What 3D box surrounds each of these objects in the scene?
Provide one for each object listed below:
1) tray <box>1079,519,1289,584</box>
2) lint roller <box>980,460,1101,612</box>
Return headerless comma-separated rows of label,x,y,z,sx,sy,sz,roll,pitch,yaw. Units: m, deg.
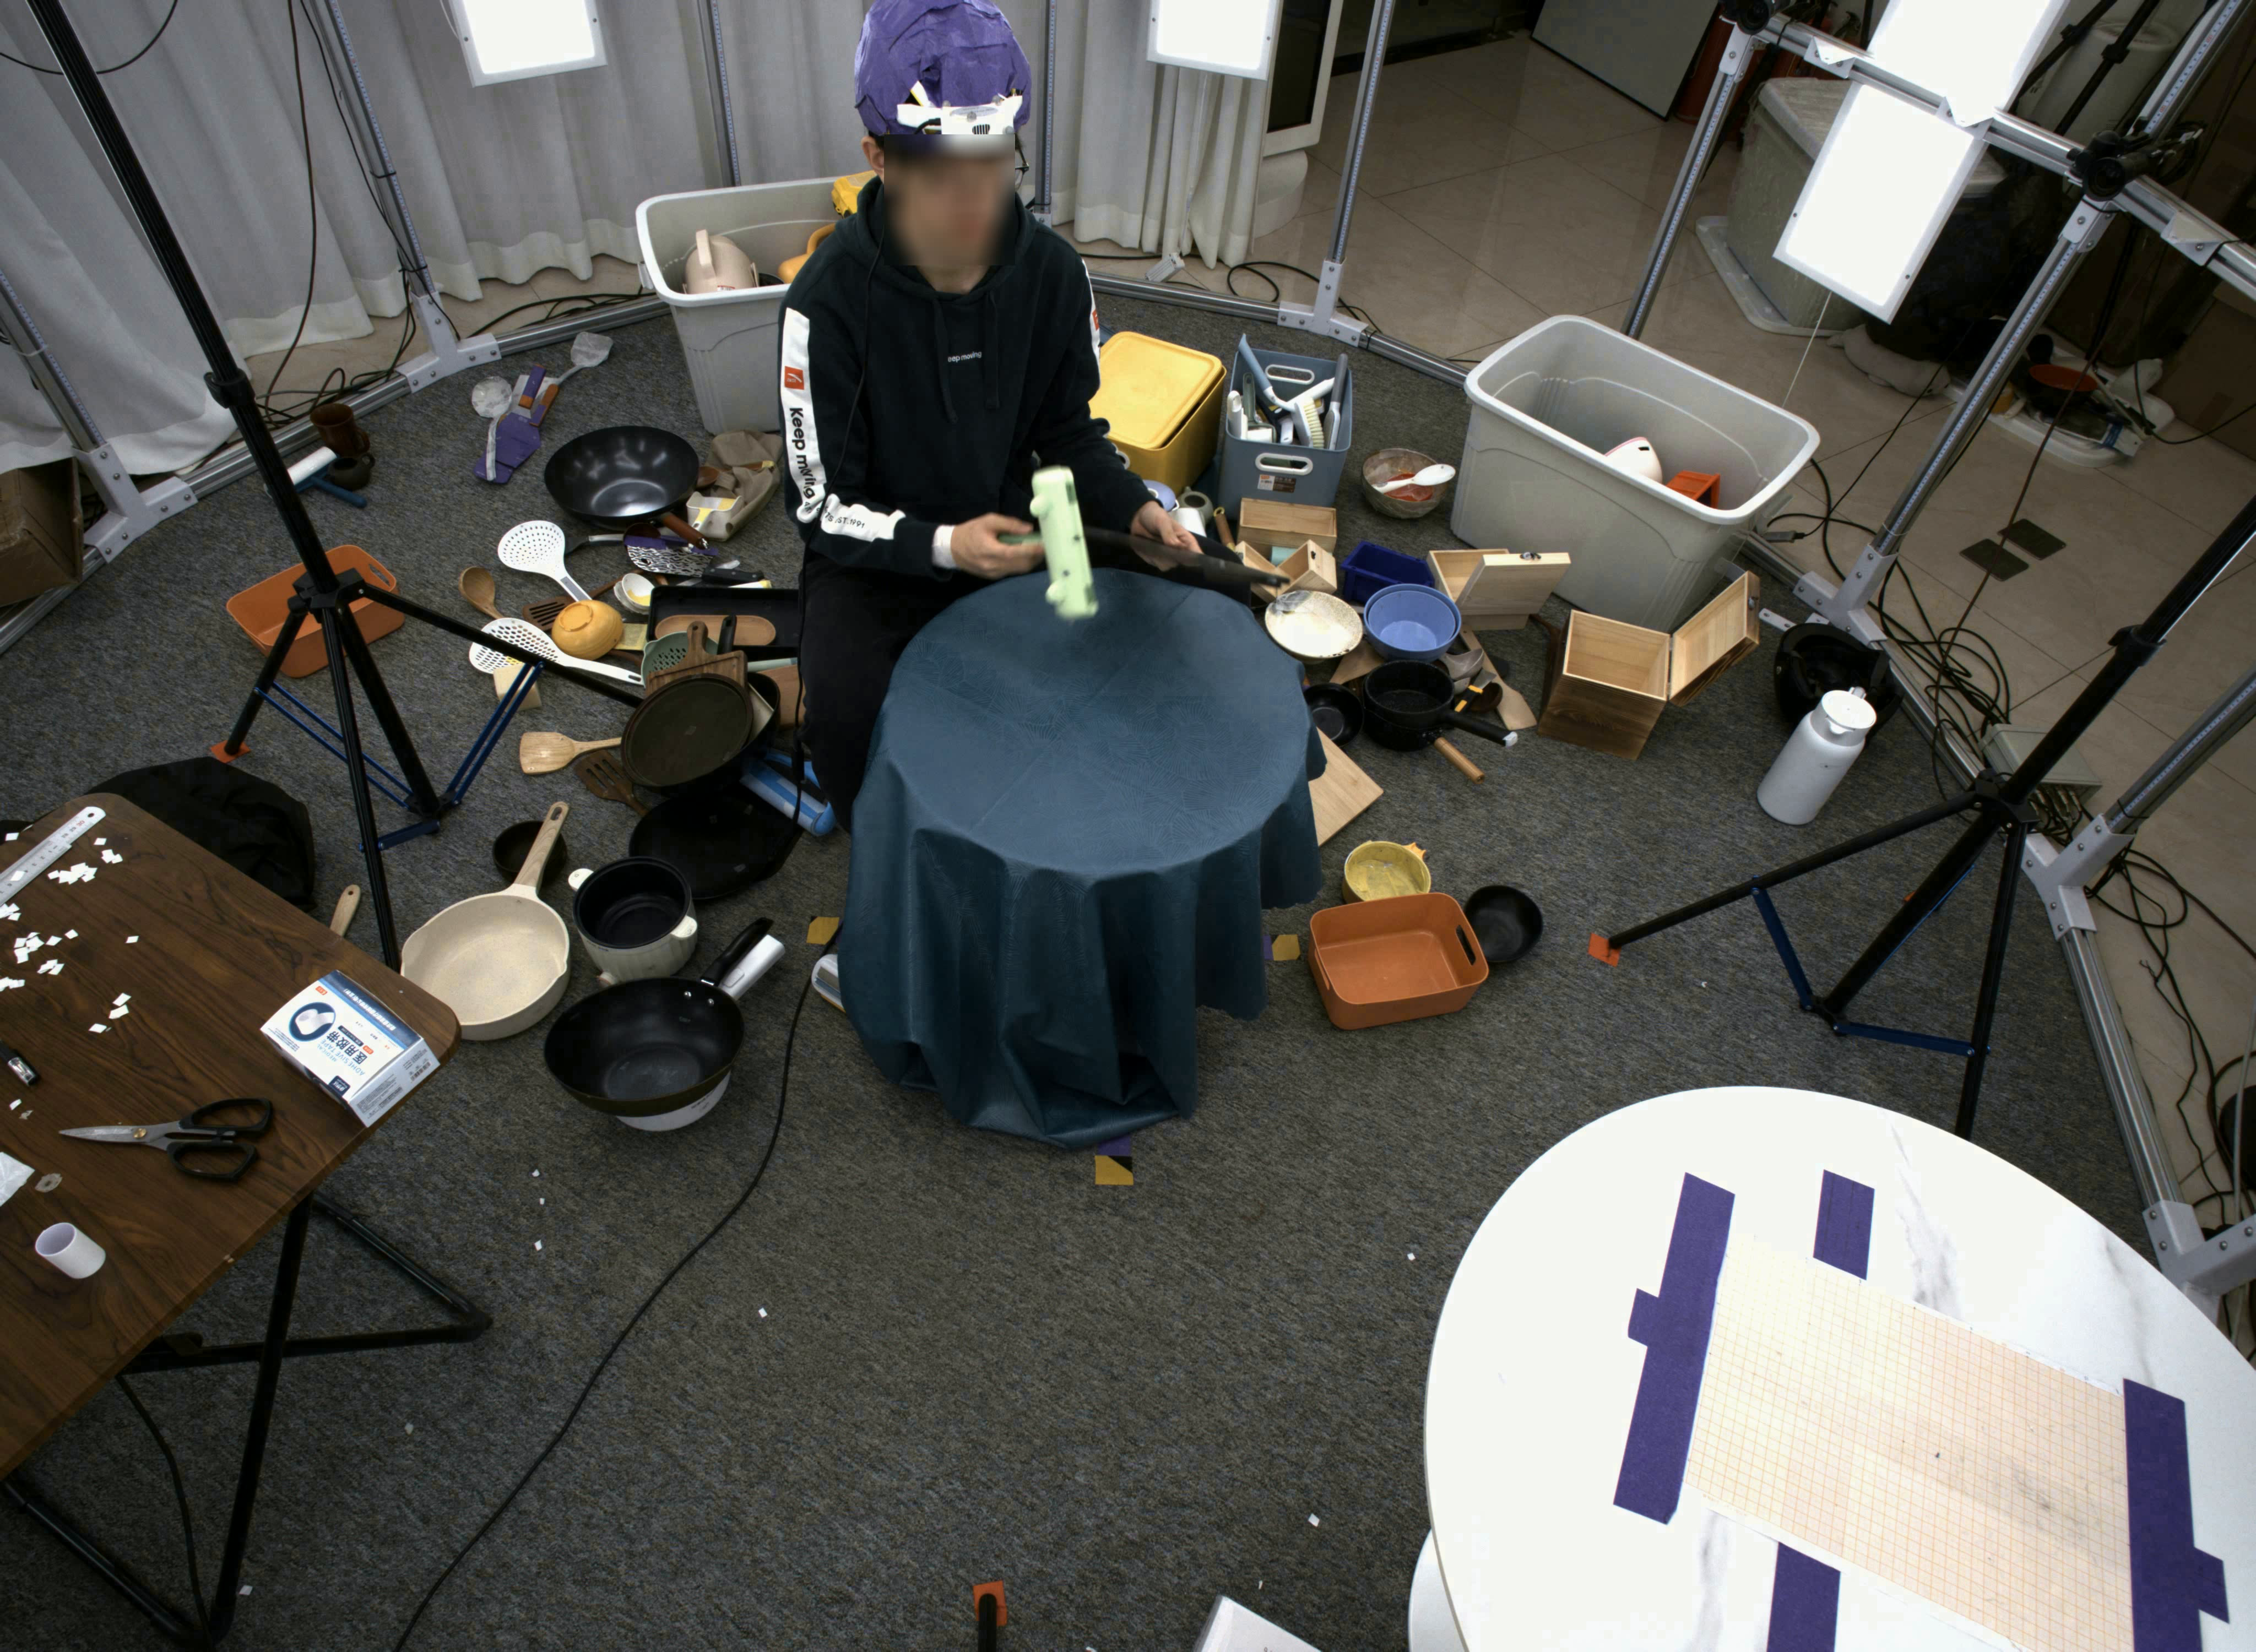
tray,0.060,-0.381,1.774,0.310,0.018,0.169,25,16,41
lint roller,-0.135,-0.381,1.734,0.184,0.195,0.083,-1,26,28
